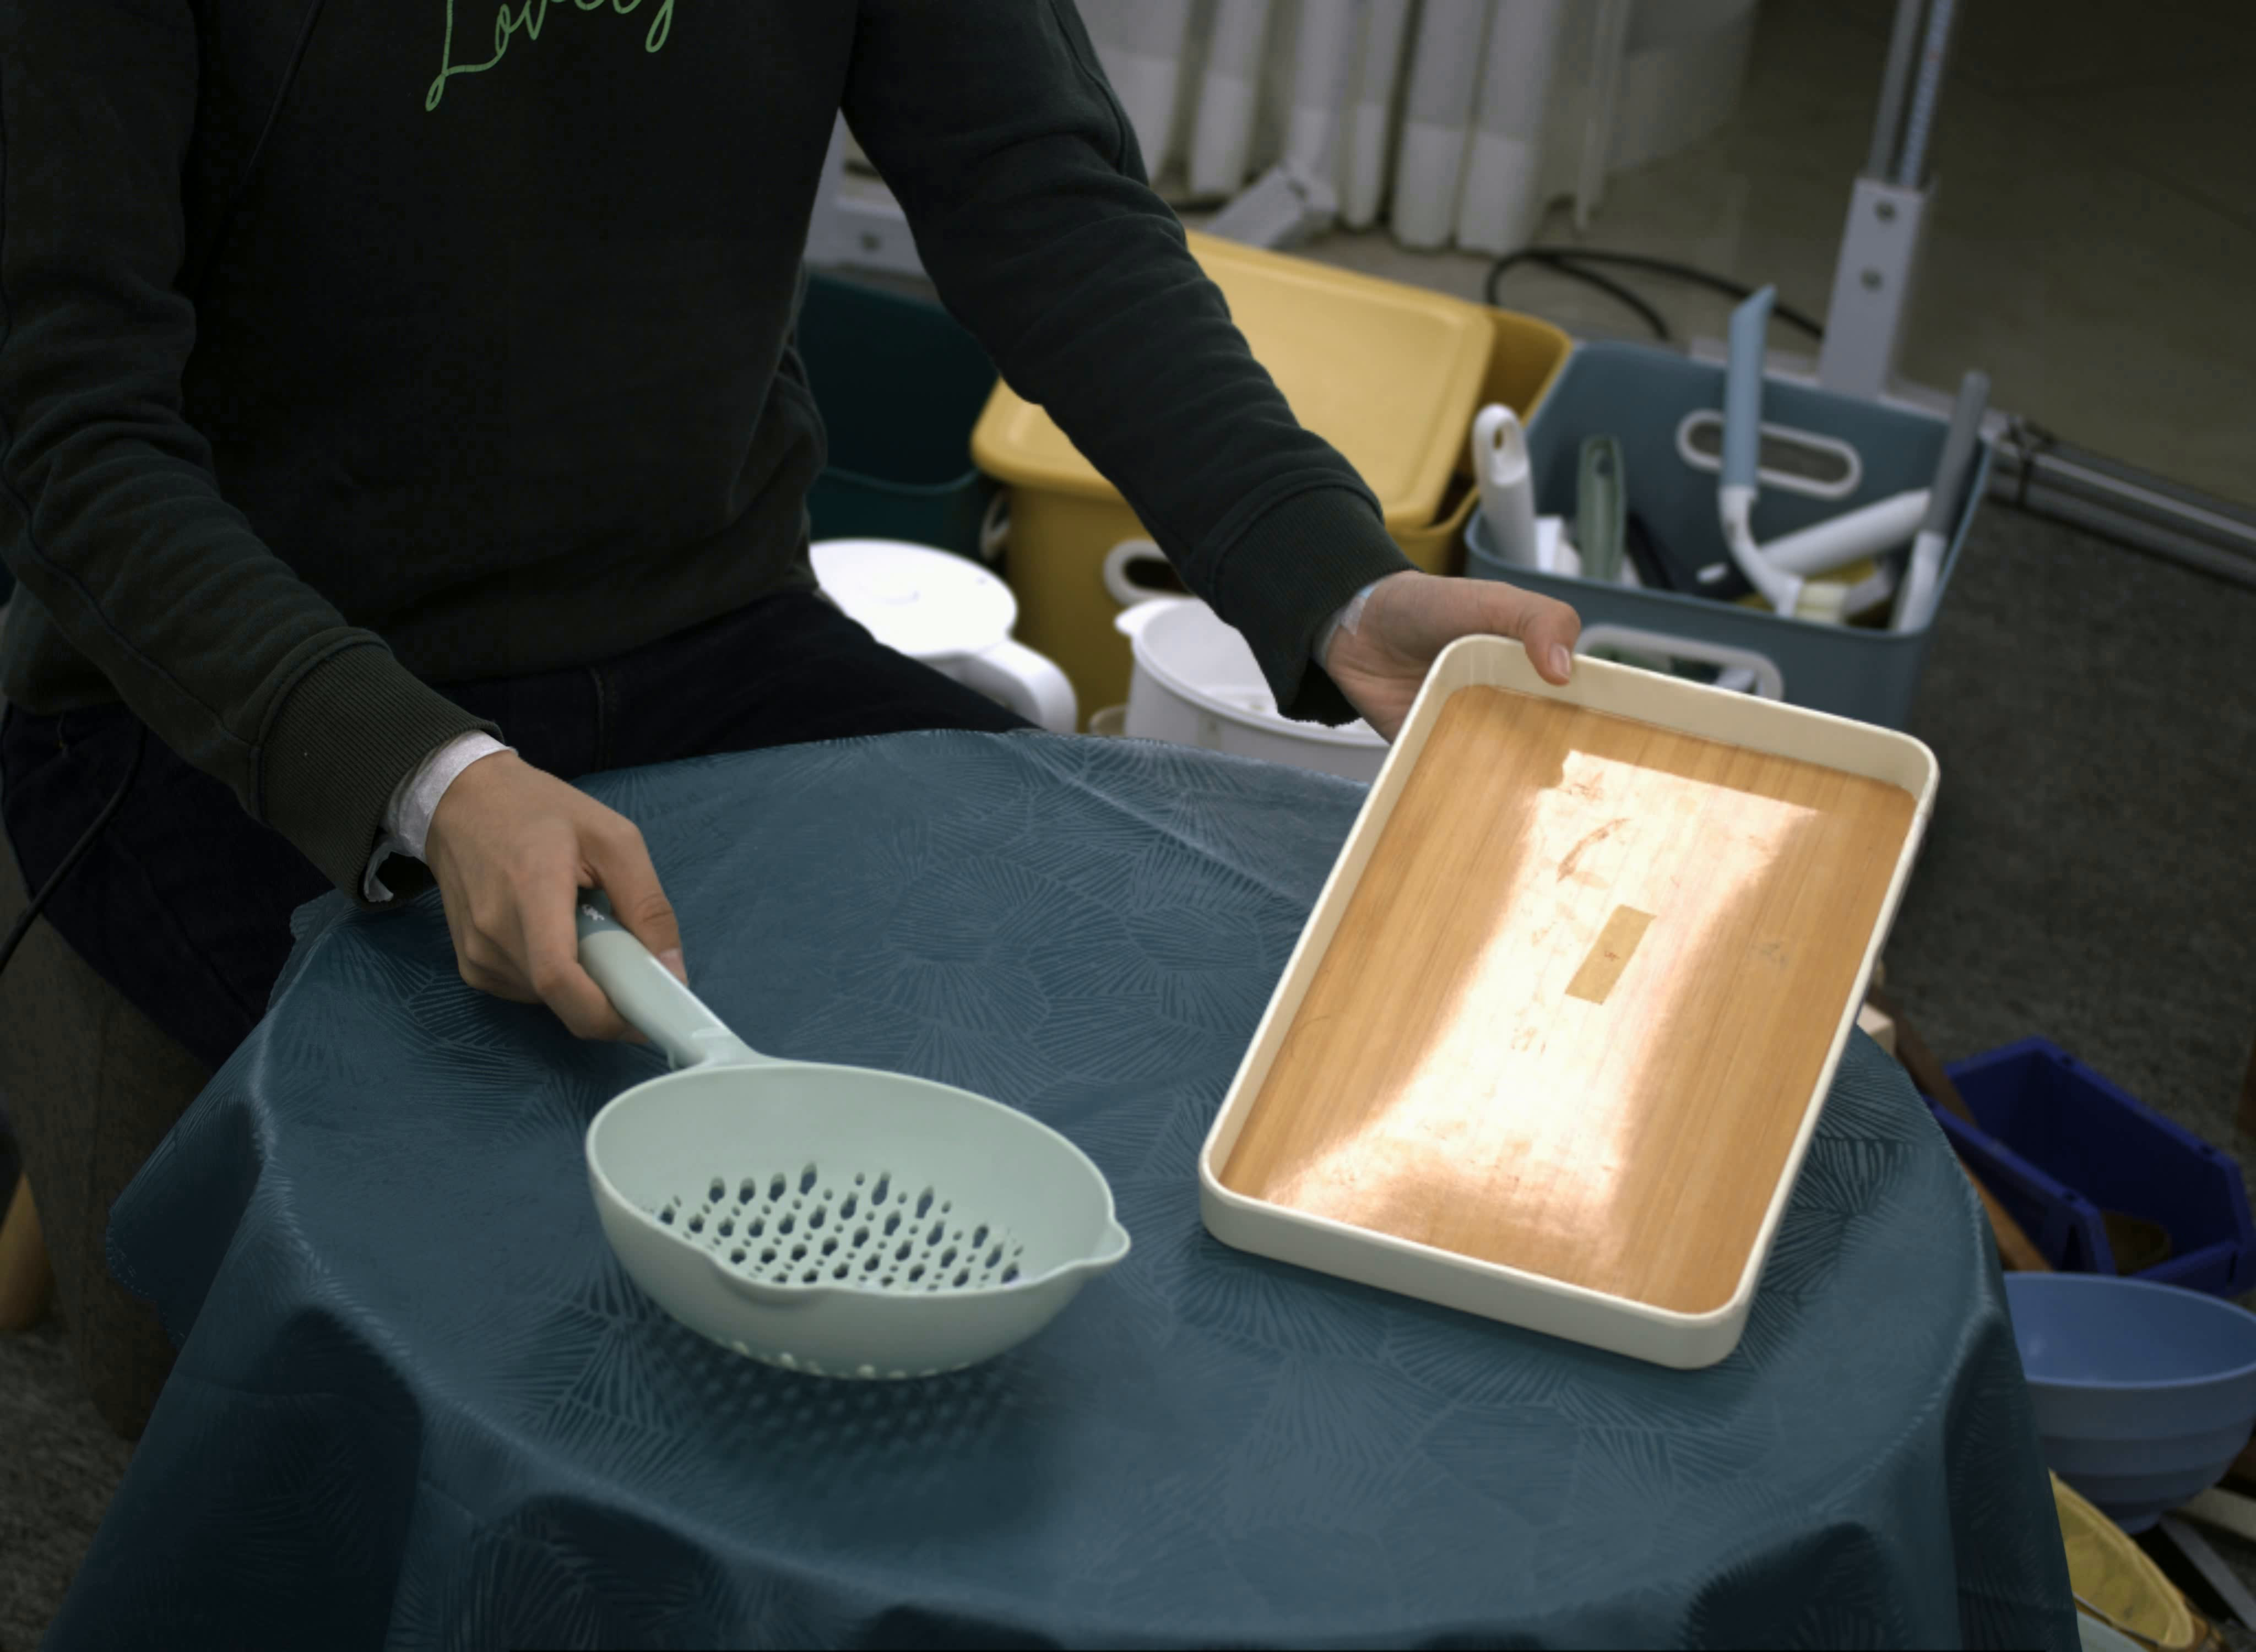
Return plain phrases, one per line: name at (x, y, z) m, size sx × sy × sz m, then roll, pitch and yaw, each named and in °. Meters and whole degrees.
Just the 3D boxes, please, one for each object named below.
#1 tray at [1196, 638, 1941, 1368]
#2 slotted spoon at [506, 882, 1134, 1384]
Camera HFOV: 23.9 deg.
tray at (0.157, 0.055, 1.848) m, size 0.192 × 0.027 × 0.301 m, roll 14°, pitch 45°, yaw 15°
slotted spoon at (-0.134, 0.086, 1.760) m, size 0.168 × 0.075 × 0.362 m, roll -1°, pitch 30°, yaw -29°
